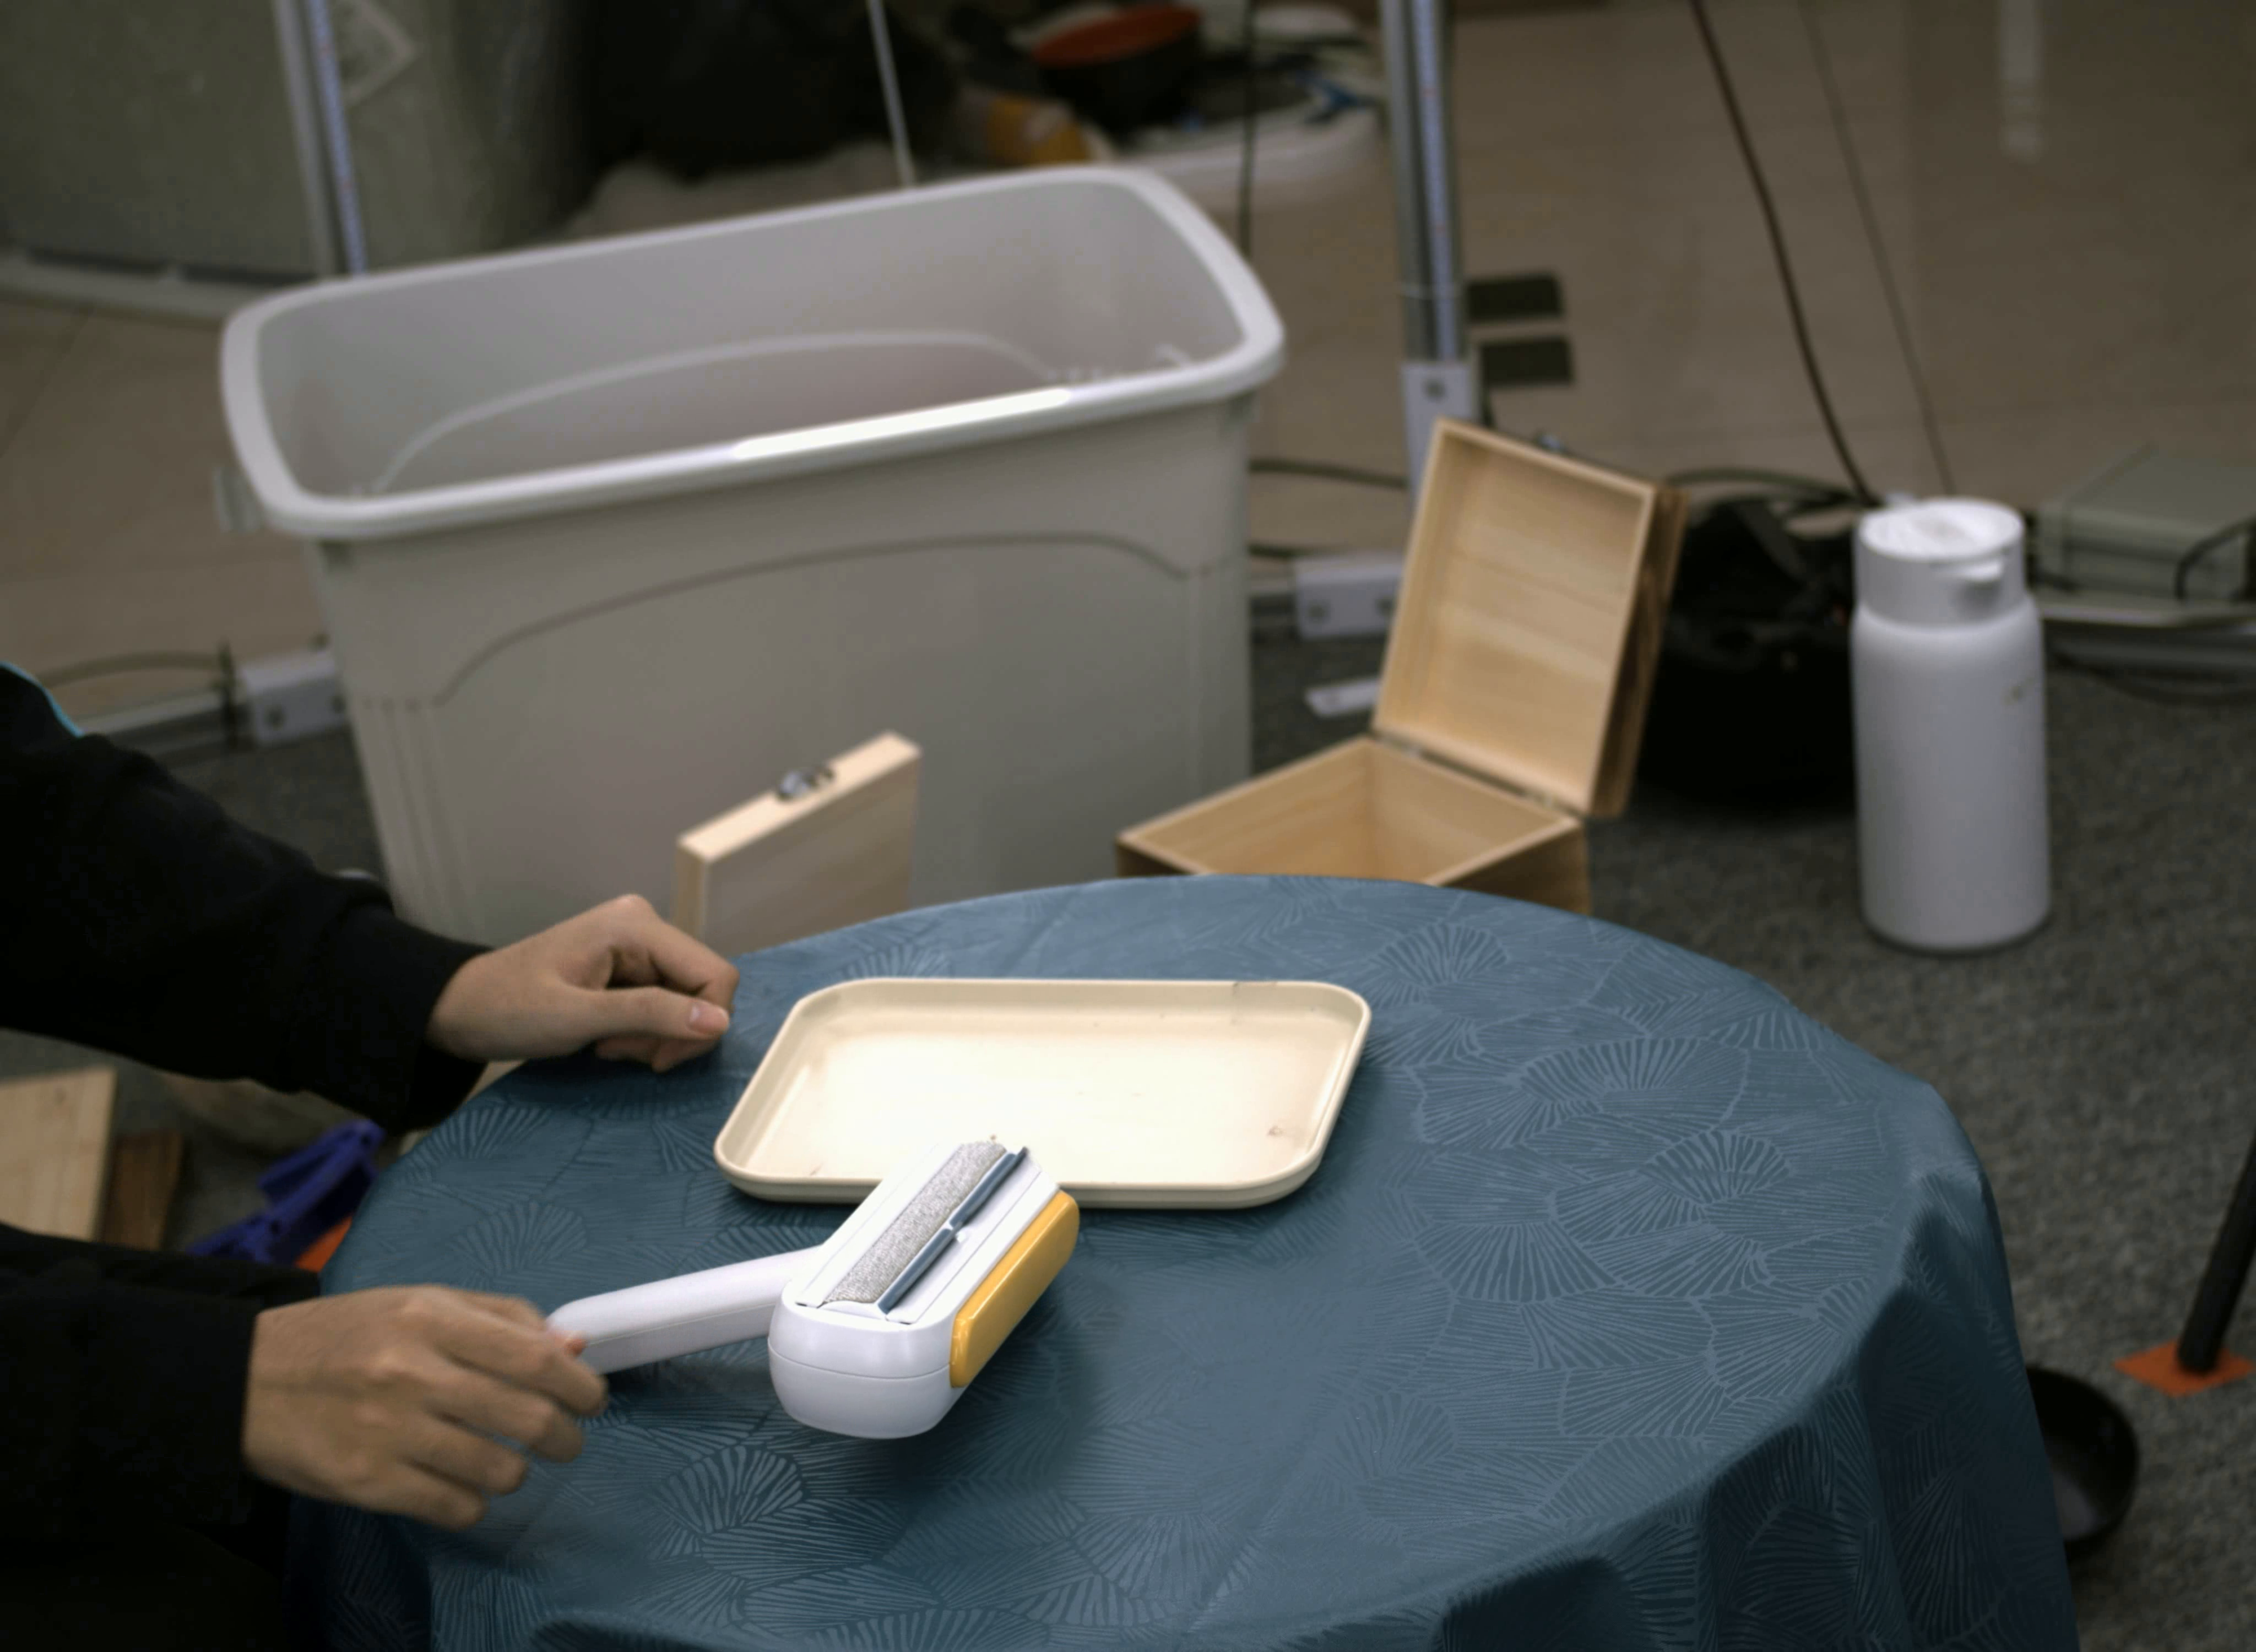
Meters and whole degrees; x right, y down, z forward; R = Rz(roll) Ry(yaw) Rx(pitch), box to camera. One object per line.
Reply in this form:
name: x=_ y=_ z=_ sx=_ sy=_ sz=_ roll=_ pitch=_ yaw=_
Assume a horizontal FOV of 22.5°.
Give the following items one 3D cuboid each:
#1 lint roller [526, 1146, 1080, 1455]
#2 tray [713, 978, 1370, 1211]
lint roller: x=-0.129 y=0.170 z=2.028 sx=0.192 sy=0.075 sz=0.190 roll=1 pitch=21 yaw=20
tray: x=-0.032 y=0.105 z=2.205 sx=0.239 sy=0.018 sz=0.169 roll=0 pitch=26 yaw=14
